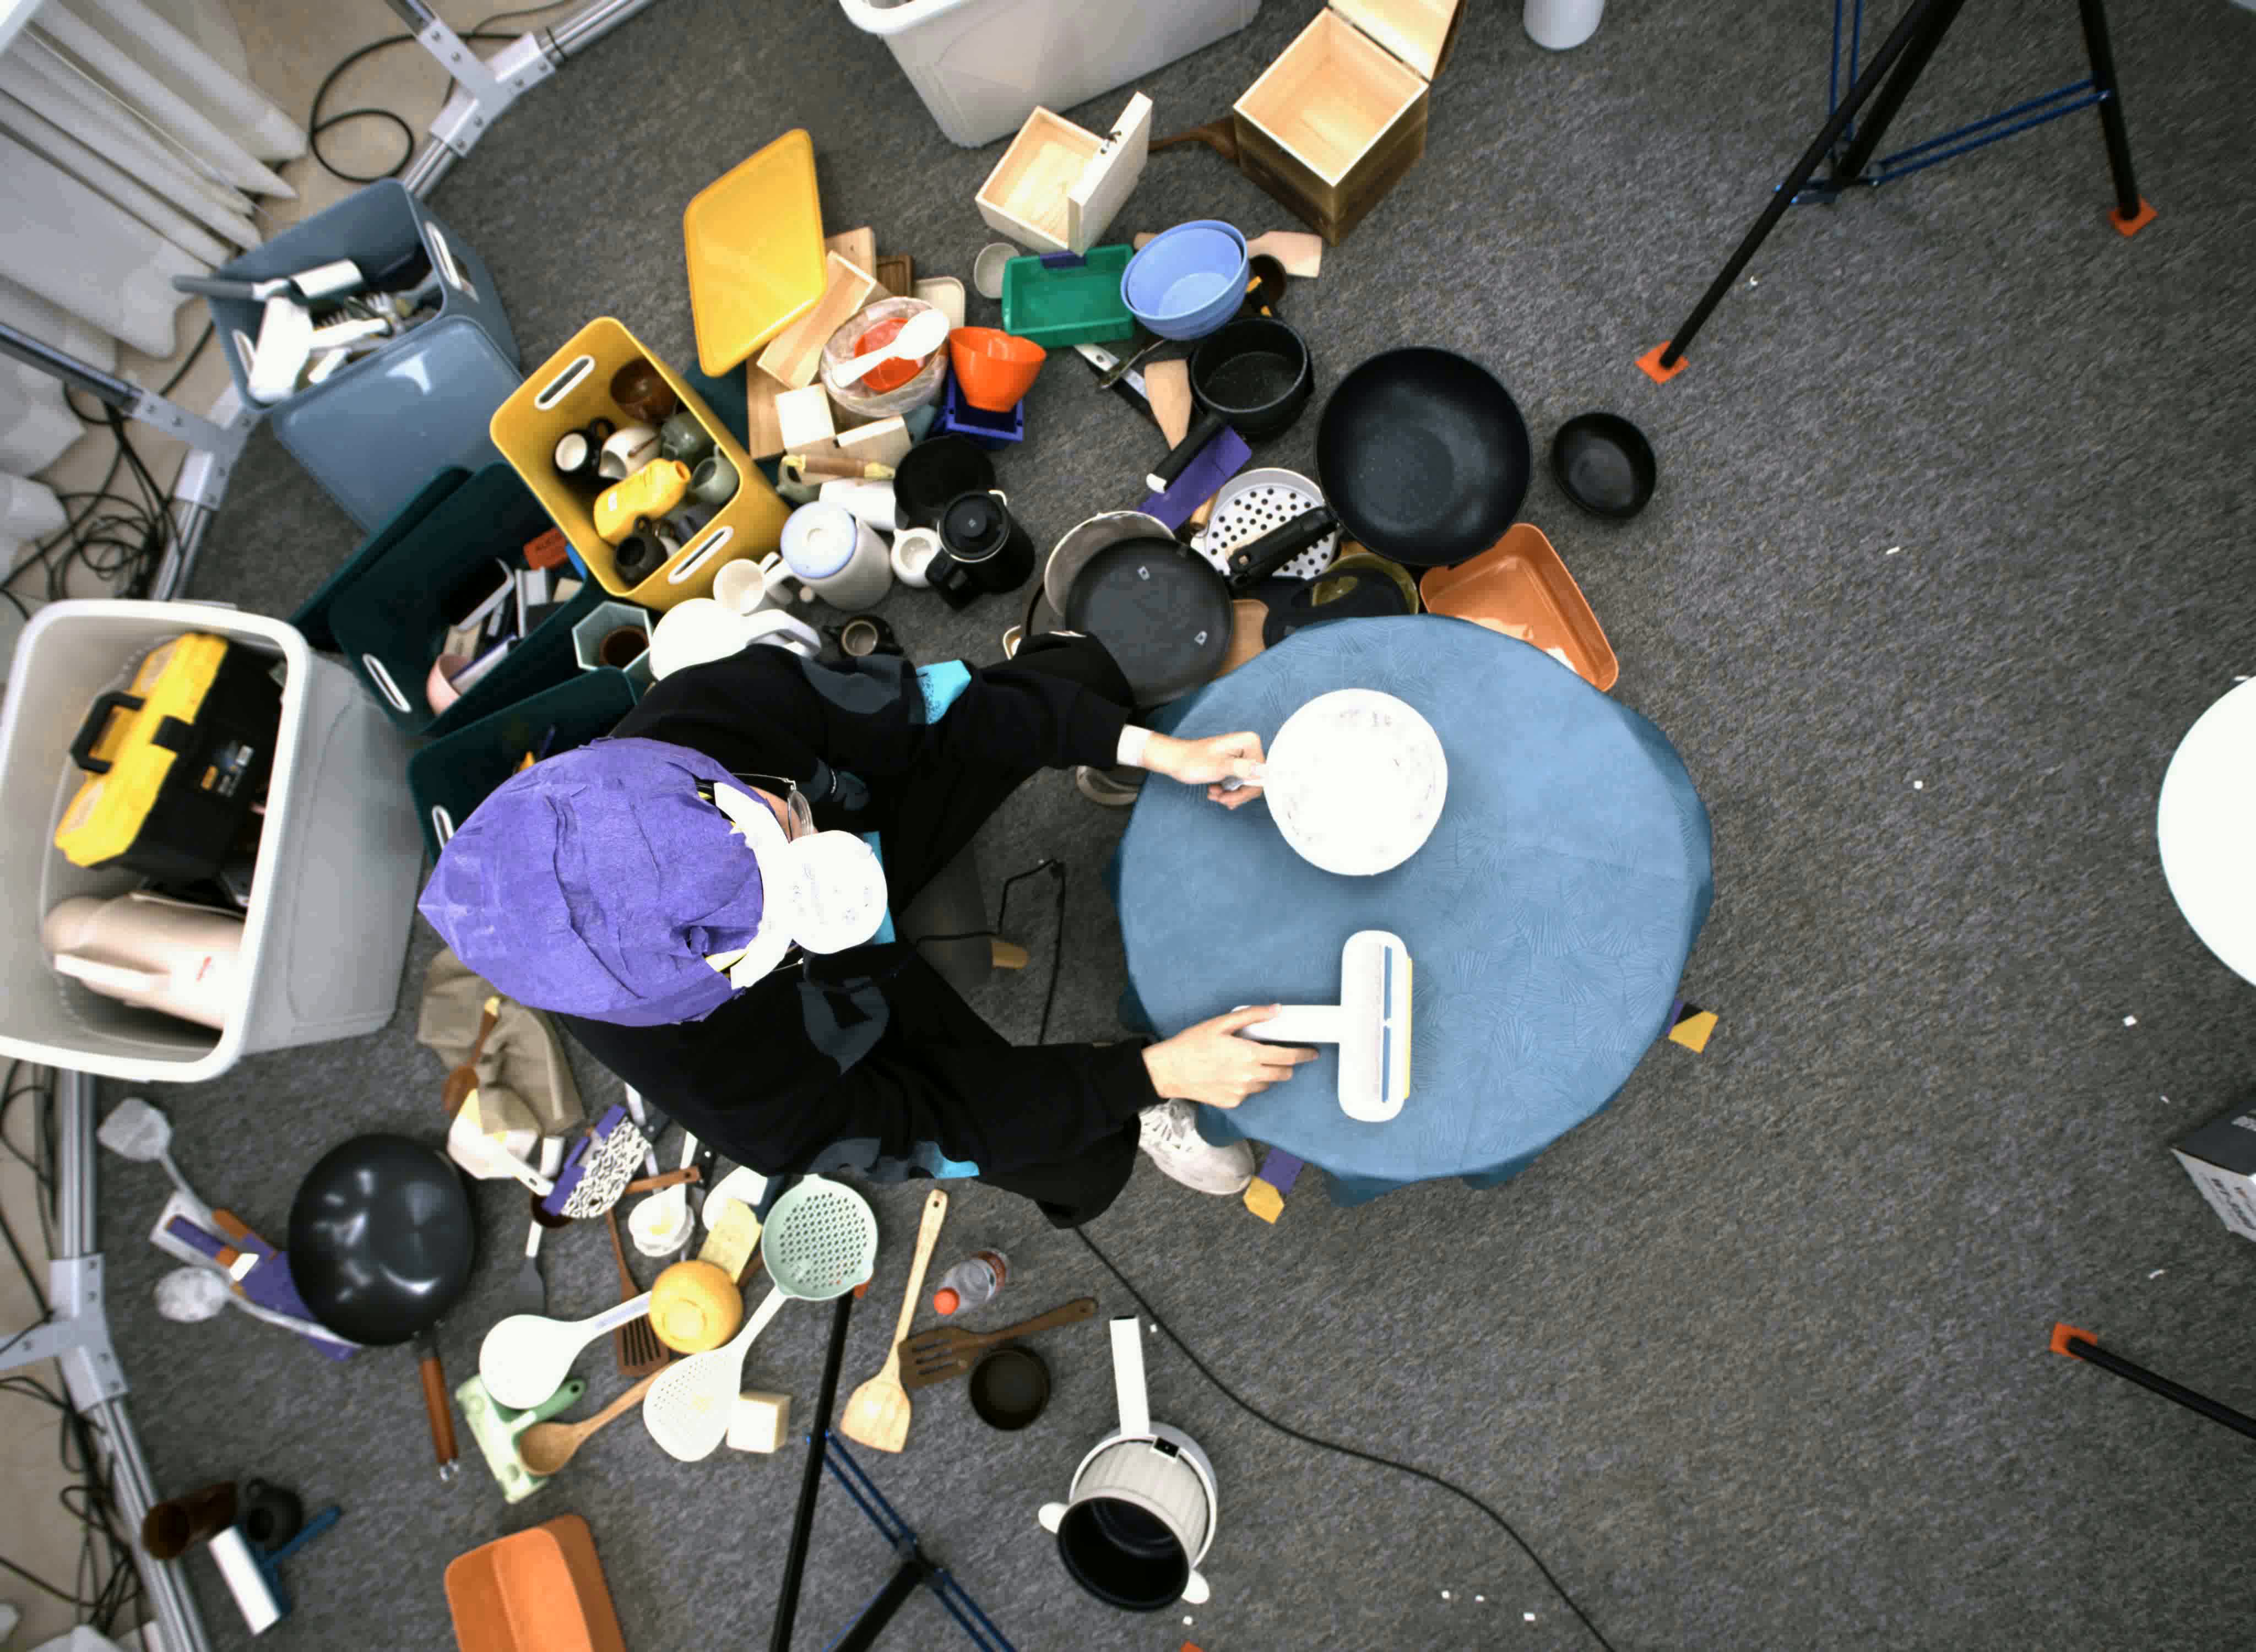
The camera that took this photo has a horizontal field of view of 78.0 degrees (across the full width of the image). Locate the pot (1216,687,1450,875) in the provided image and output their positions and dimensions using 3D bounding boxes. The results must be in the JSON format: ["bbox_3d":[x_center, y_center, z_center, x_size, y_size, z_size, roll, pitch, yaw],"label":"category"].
[{"bbox_3d":[0.204,-0.044,1.402,0.234,0.137,0.178,5,85,9],"label":"pot"}]

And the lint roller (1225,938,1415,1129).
[{"bbox_3d":[0.193,0.206,1.428,0.193,0.074,0.191,5,82,12],"label":"lint roller"}]
